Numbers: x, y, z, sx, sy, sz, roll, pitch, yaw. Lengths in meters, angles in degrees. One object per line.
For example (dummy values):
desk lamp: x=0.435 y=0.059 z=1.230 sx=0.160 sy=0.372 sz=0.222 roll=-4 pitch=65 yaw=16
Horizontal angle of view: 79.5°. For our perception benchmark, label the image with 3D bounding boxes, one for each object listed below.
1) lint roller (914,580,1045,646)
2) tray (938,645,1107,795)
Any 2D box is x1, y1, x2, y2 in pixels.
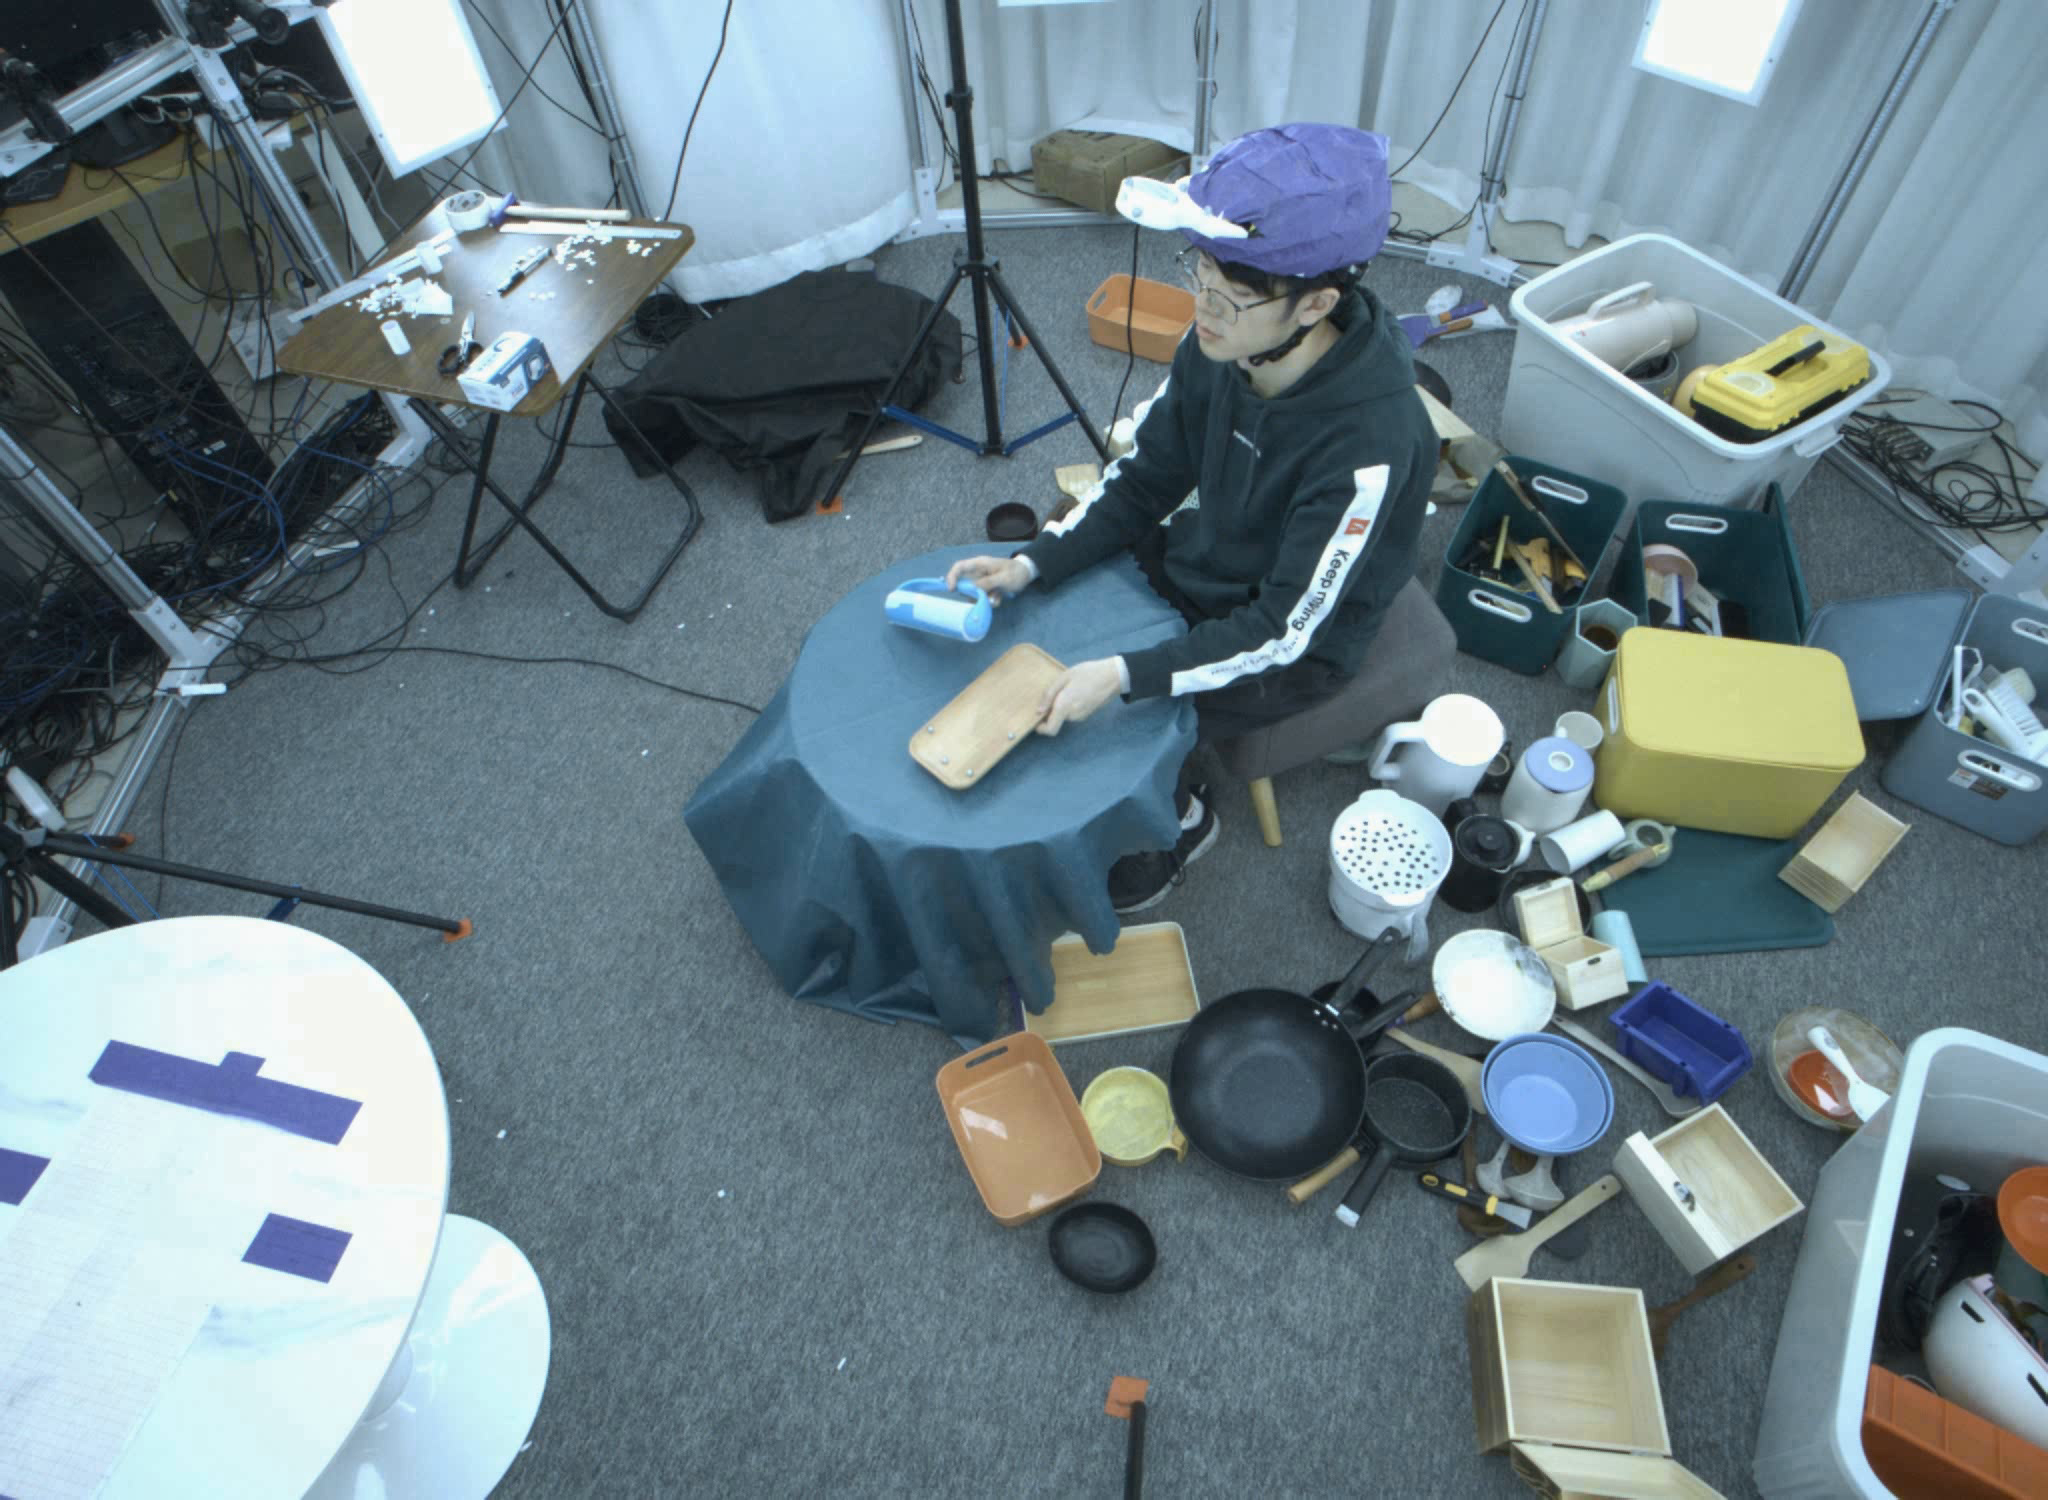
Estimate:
lint roller: x=-0.045 y=-0.224 z=1.865 sx=0.182 sy=0.068 sz=0.223 roll=-30 pitch=32 yaw=-34
tray: x=-0.002 y=-0.045 z=1.762 sx=0.252 sy=0.023 sz=0.128 roll=-41 pitch=63 yaw=-14
